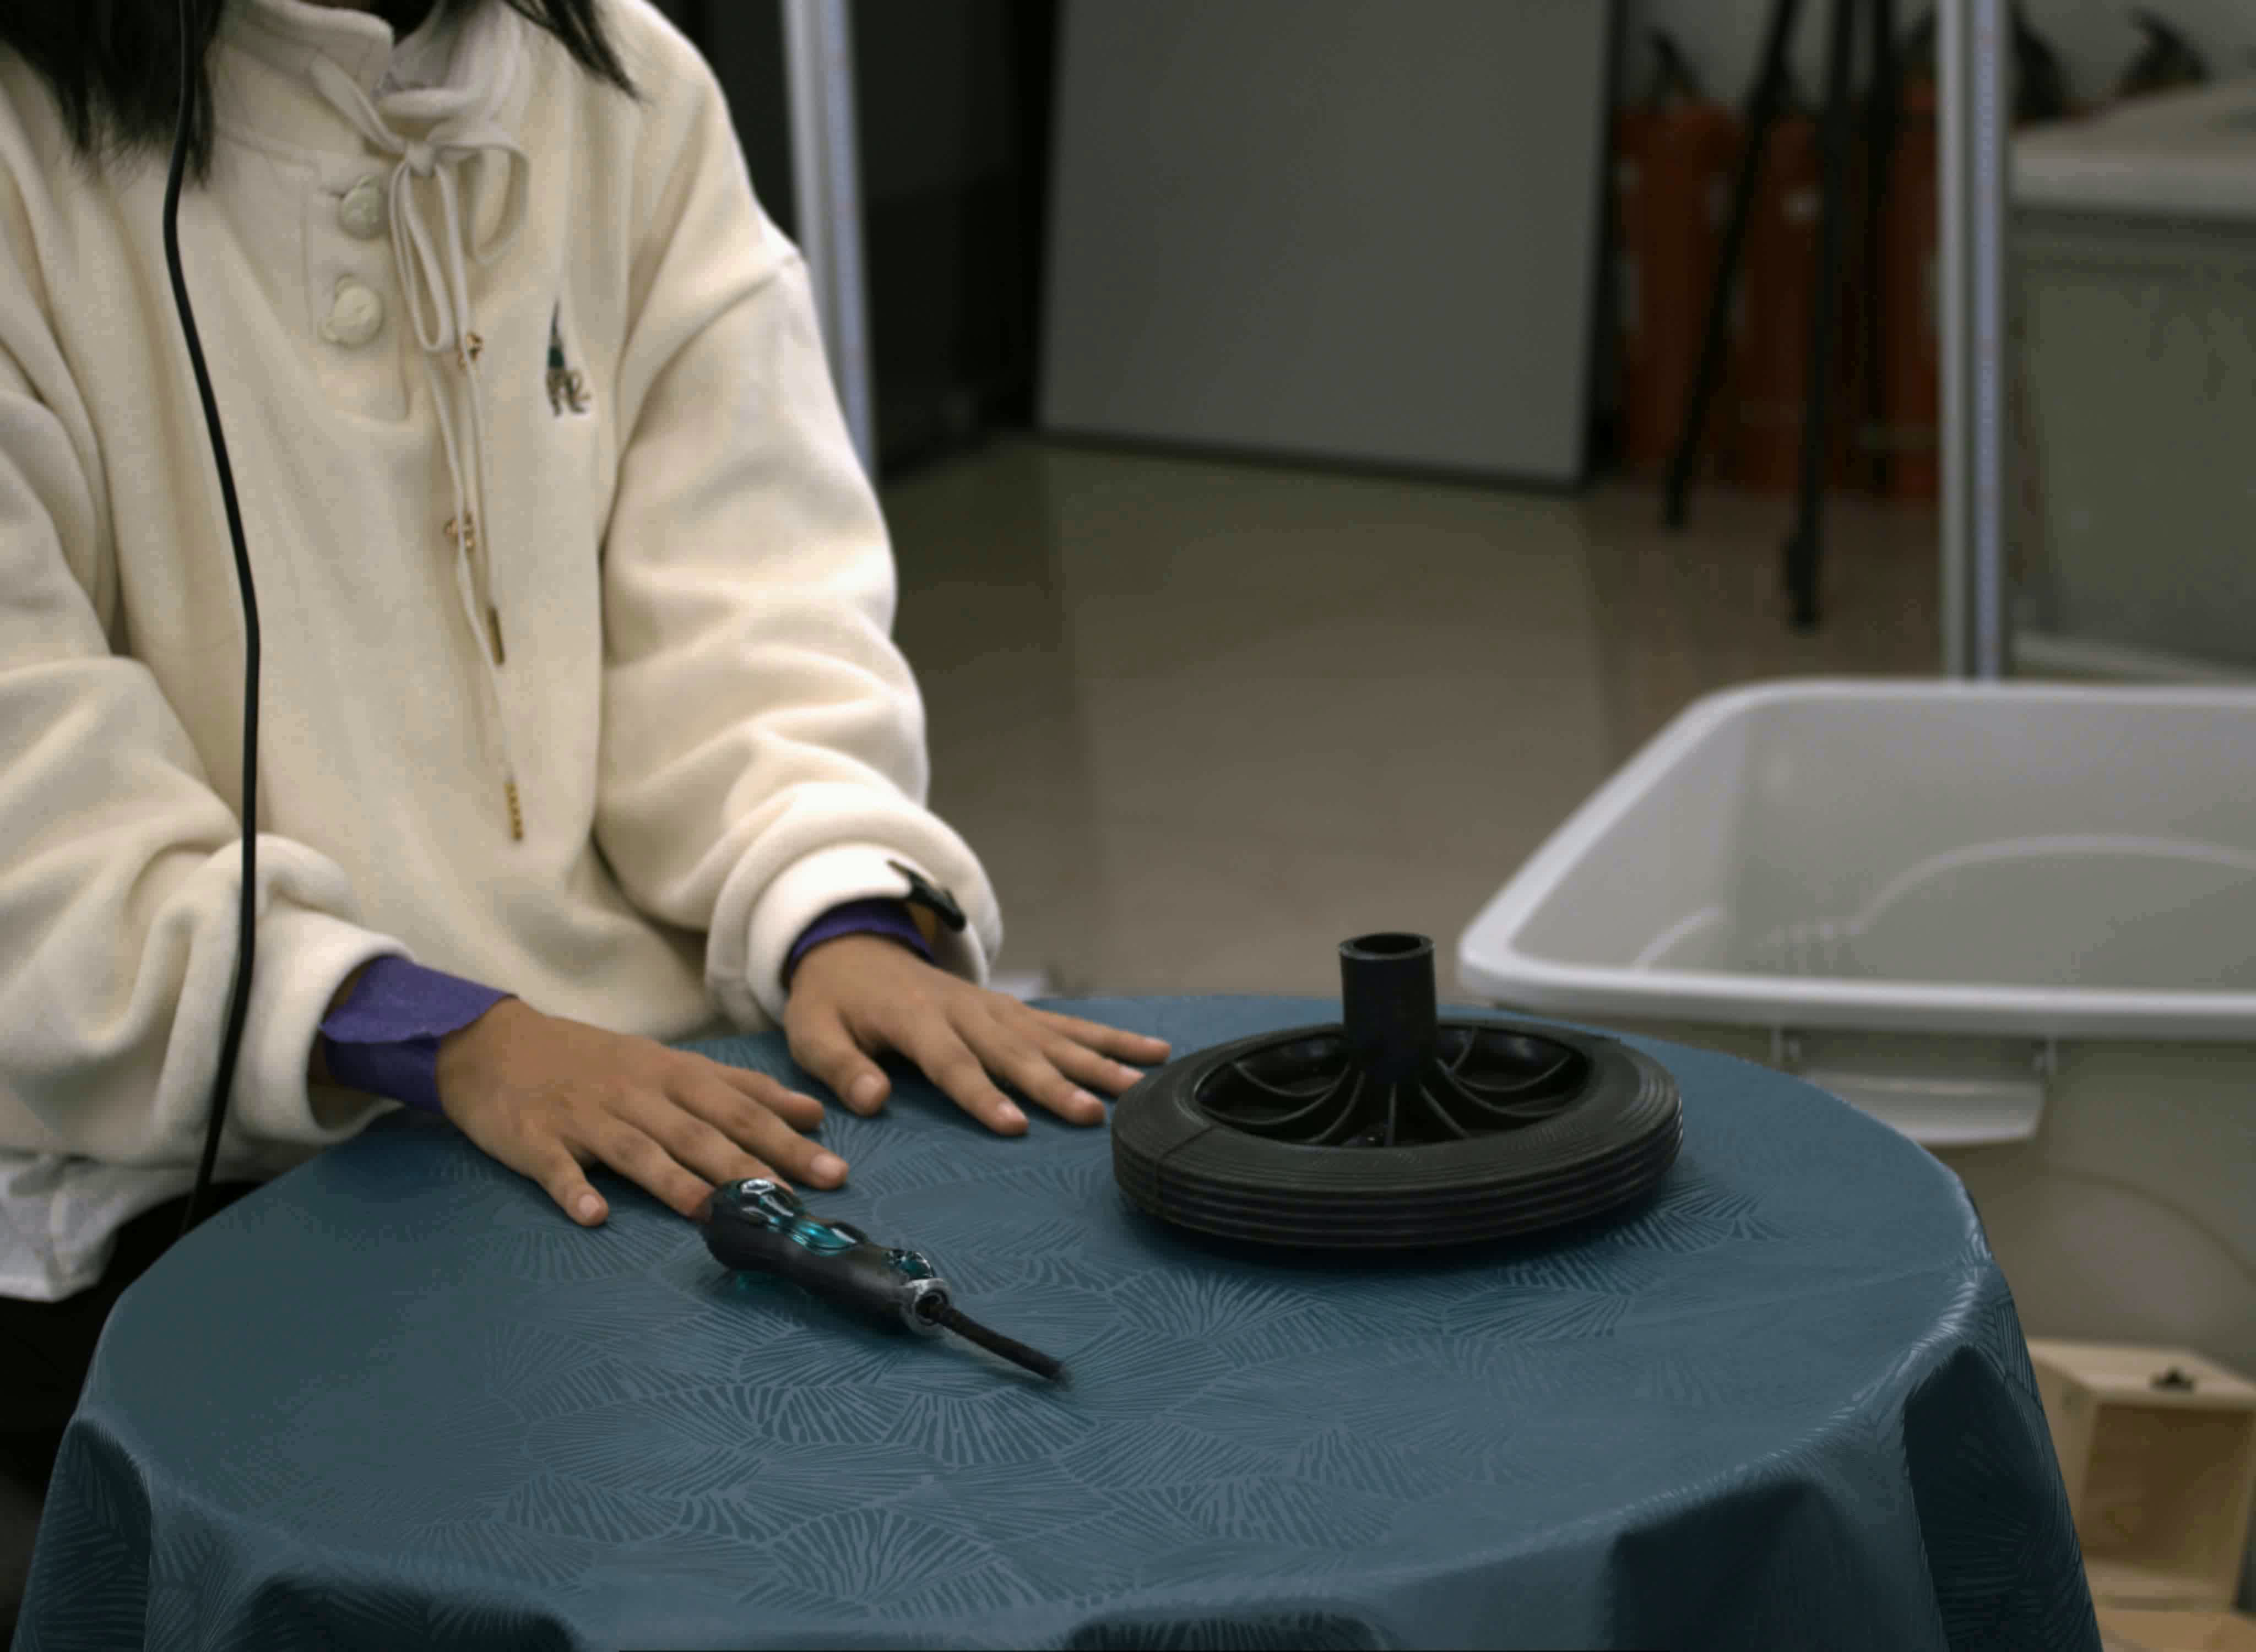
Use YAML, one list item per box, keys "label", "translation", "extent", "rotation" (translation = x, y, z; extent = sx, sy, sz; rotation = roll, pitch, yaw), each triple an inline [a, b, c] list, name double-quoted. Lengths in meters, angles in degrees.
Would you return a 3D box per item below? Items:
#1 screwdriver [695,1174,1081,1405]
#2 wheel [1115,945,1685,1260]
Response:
- label: "screwdriver"
  translation: [-0.072, 0.145, 1.651]
  extent: [0.033, 0.034, 0.192]
  rotation: [-13, 22, -35]
- label: "wheel"
  translation: [0.087, 0.081, 1.747]
  extent: [0.185, 0.080, 0.189]
  rotation: [-3, 14, 5]
